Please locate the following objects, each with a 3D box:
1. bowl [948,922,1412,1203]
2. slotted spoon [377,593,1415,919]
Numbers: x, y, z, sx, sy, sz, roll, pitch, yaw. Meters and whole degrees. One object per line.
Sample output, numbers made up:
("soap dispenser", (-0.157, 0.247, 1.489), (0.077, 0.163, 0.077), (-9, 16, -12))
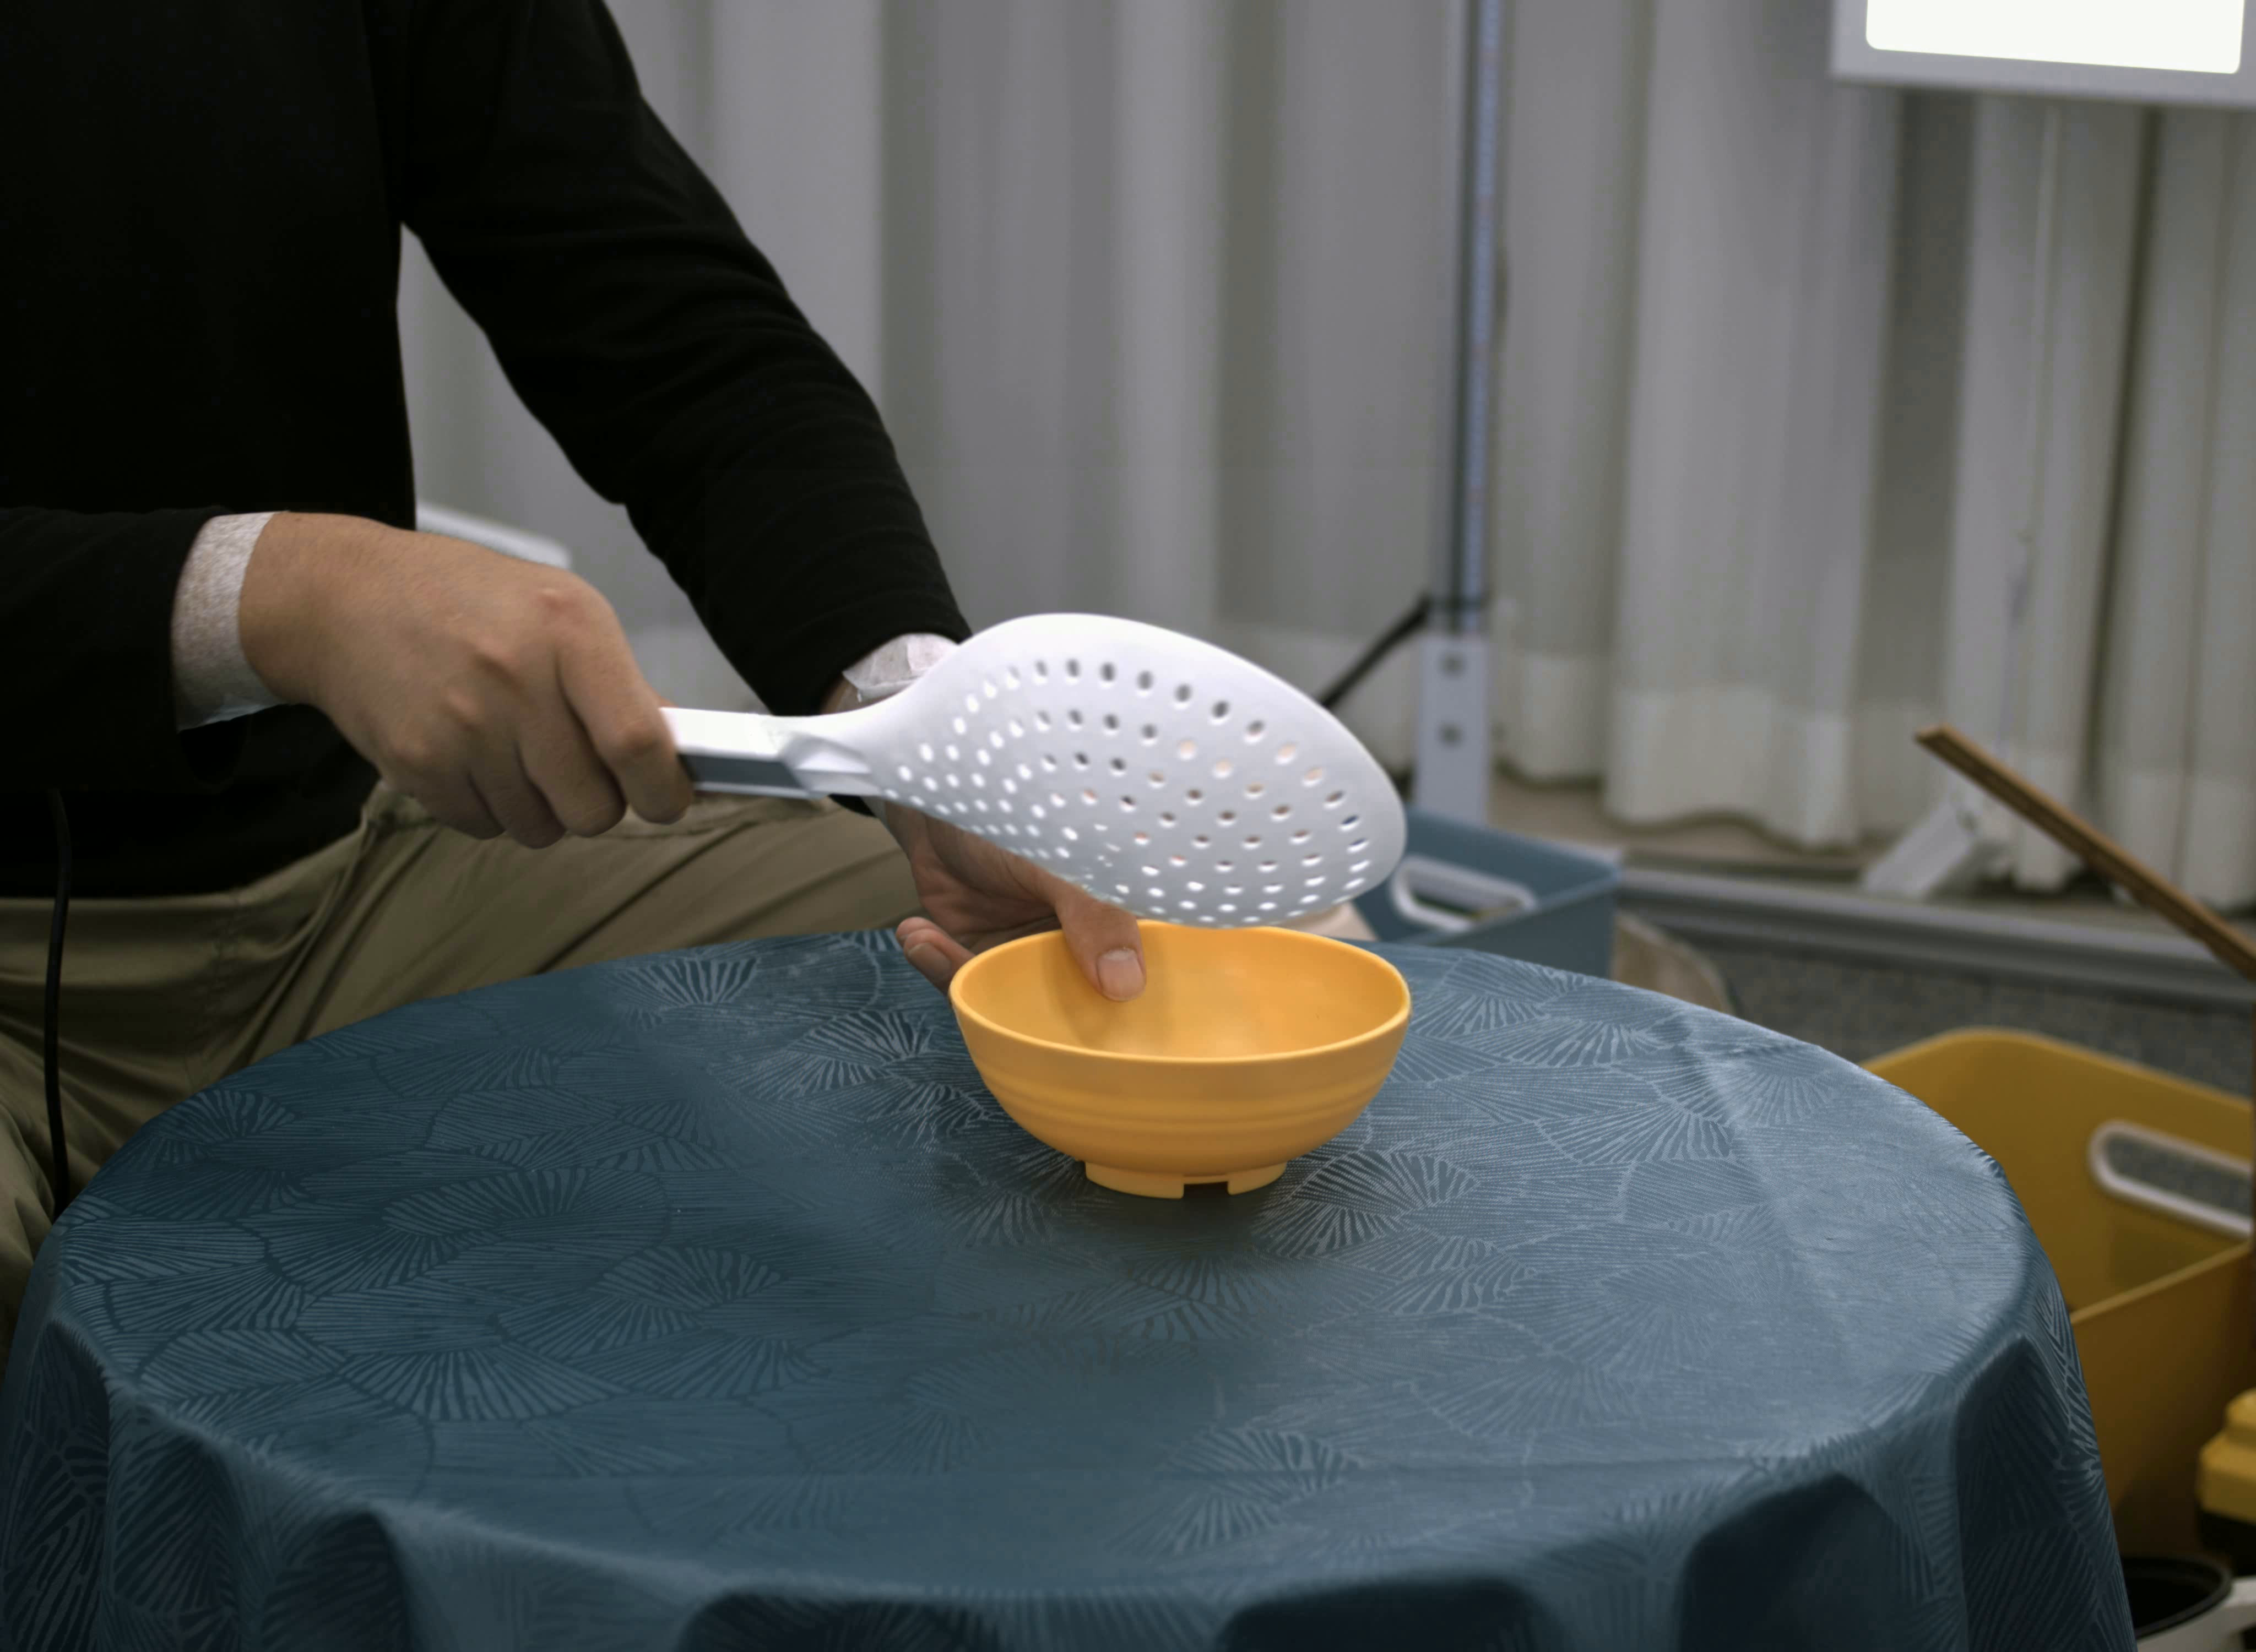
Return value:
("bowl", (0.015, 0.078, 1.636), (0.145, 0.060, 0.144), (3, 15, 0))
("slotted spoon", (-0.077, -0.022, 1.520), (0.345, 0.138, 0.045), (9, 58, 34))
